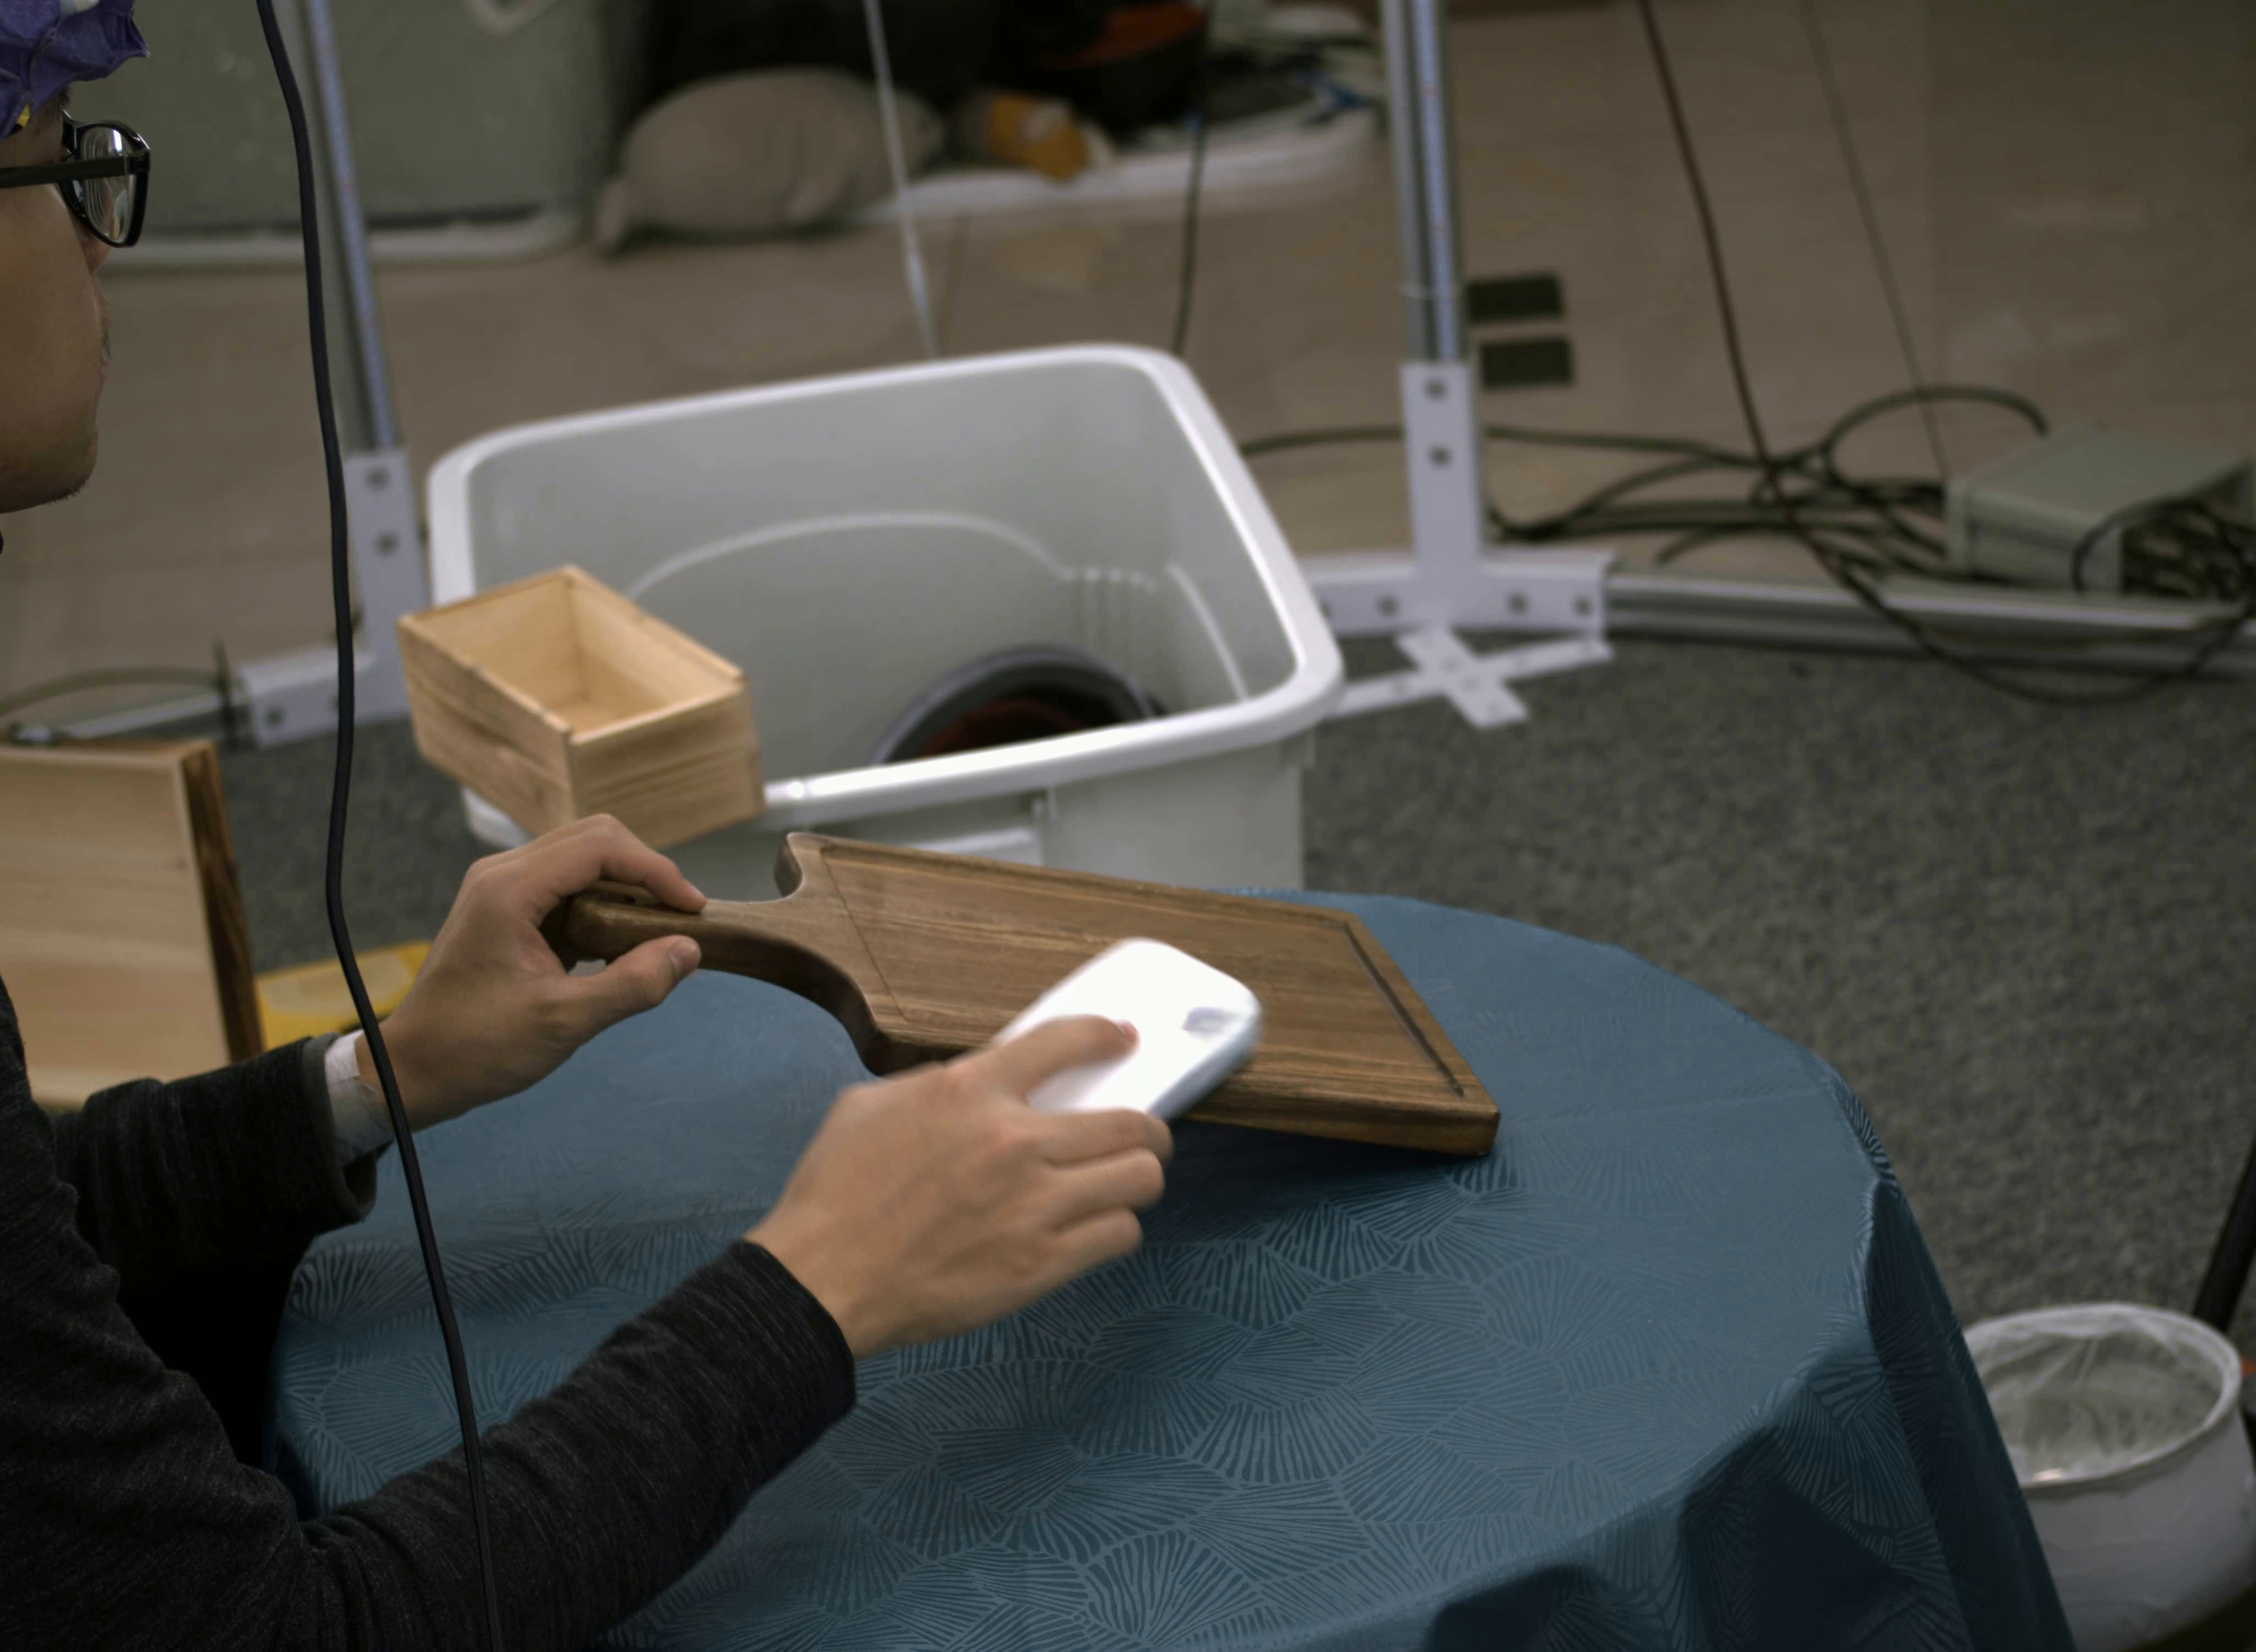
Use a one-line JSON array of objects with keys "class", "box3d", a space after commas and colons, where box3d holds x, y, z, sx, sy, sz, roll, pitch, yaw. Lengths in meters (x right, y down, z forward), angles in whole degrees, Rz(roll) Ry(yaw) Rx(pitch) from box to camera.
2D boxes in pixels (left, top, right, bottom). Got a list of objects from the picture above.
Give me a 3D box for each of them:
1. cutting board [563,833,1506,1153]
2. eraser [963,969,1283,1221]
[{"class": "cutting board", "box3d": [-0.045, 0.056, 2.168, 0.352, 0.023, 0.198, 8, 21, -19]}, {"class": "eraser", "box3d": [-0.003, 0.092, 2.014, 0.063, 0.035, 0.130, 29, 39, 26]}]
